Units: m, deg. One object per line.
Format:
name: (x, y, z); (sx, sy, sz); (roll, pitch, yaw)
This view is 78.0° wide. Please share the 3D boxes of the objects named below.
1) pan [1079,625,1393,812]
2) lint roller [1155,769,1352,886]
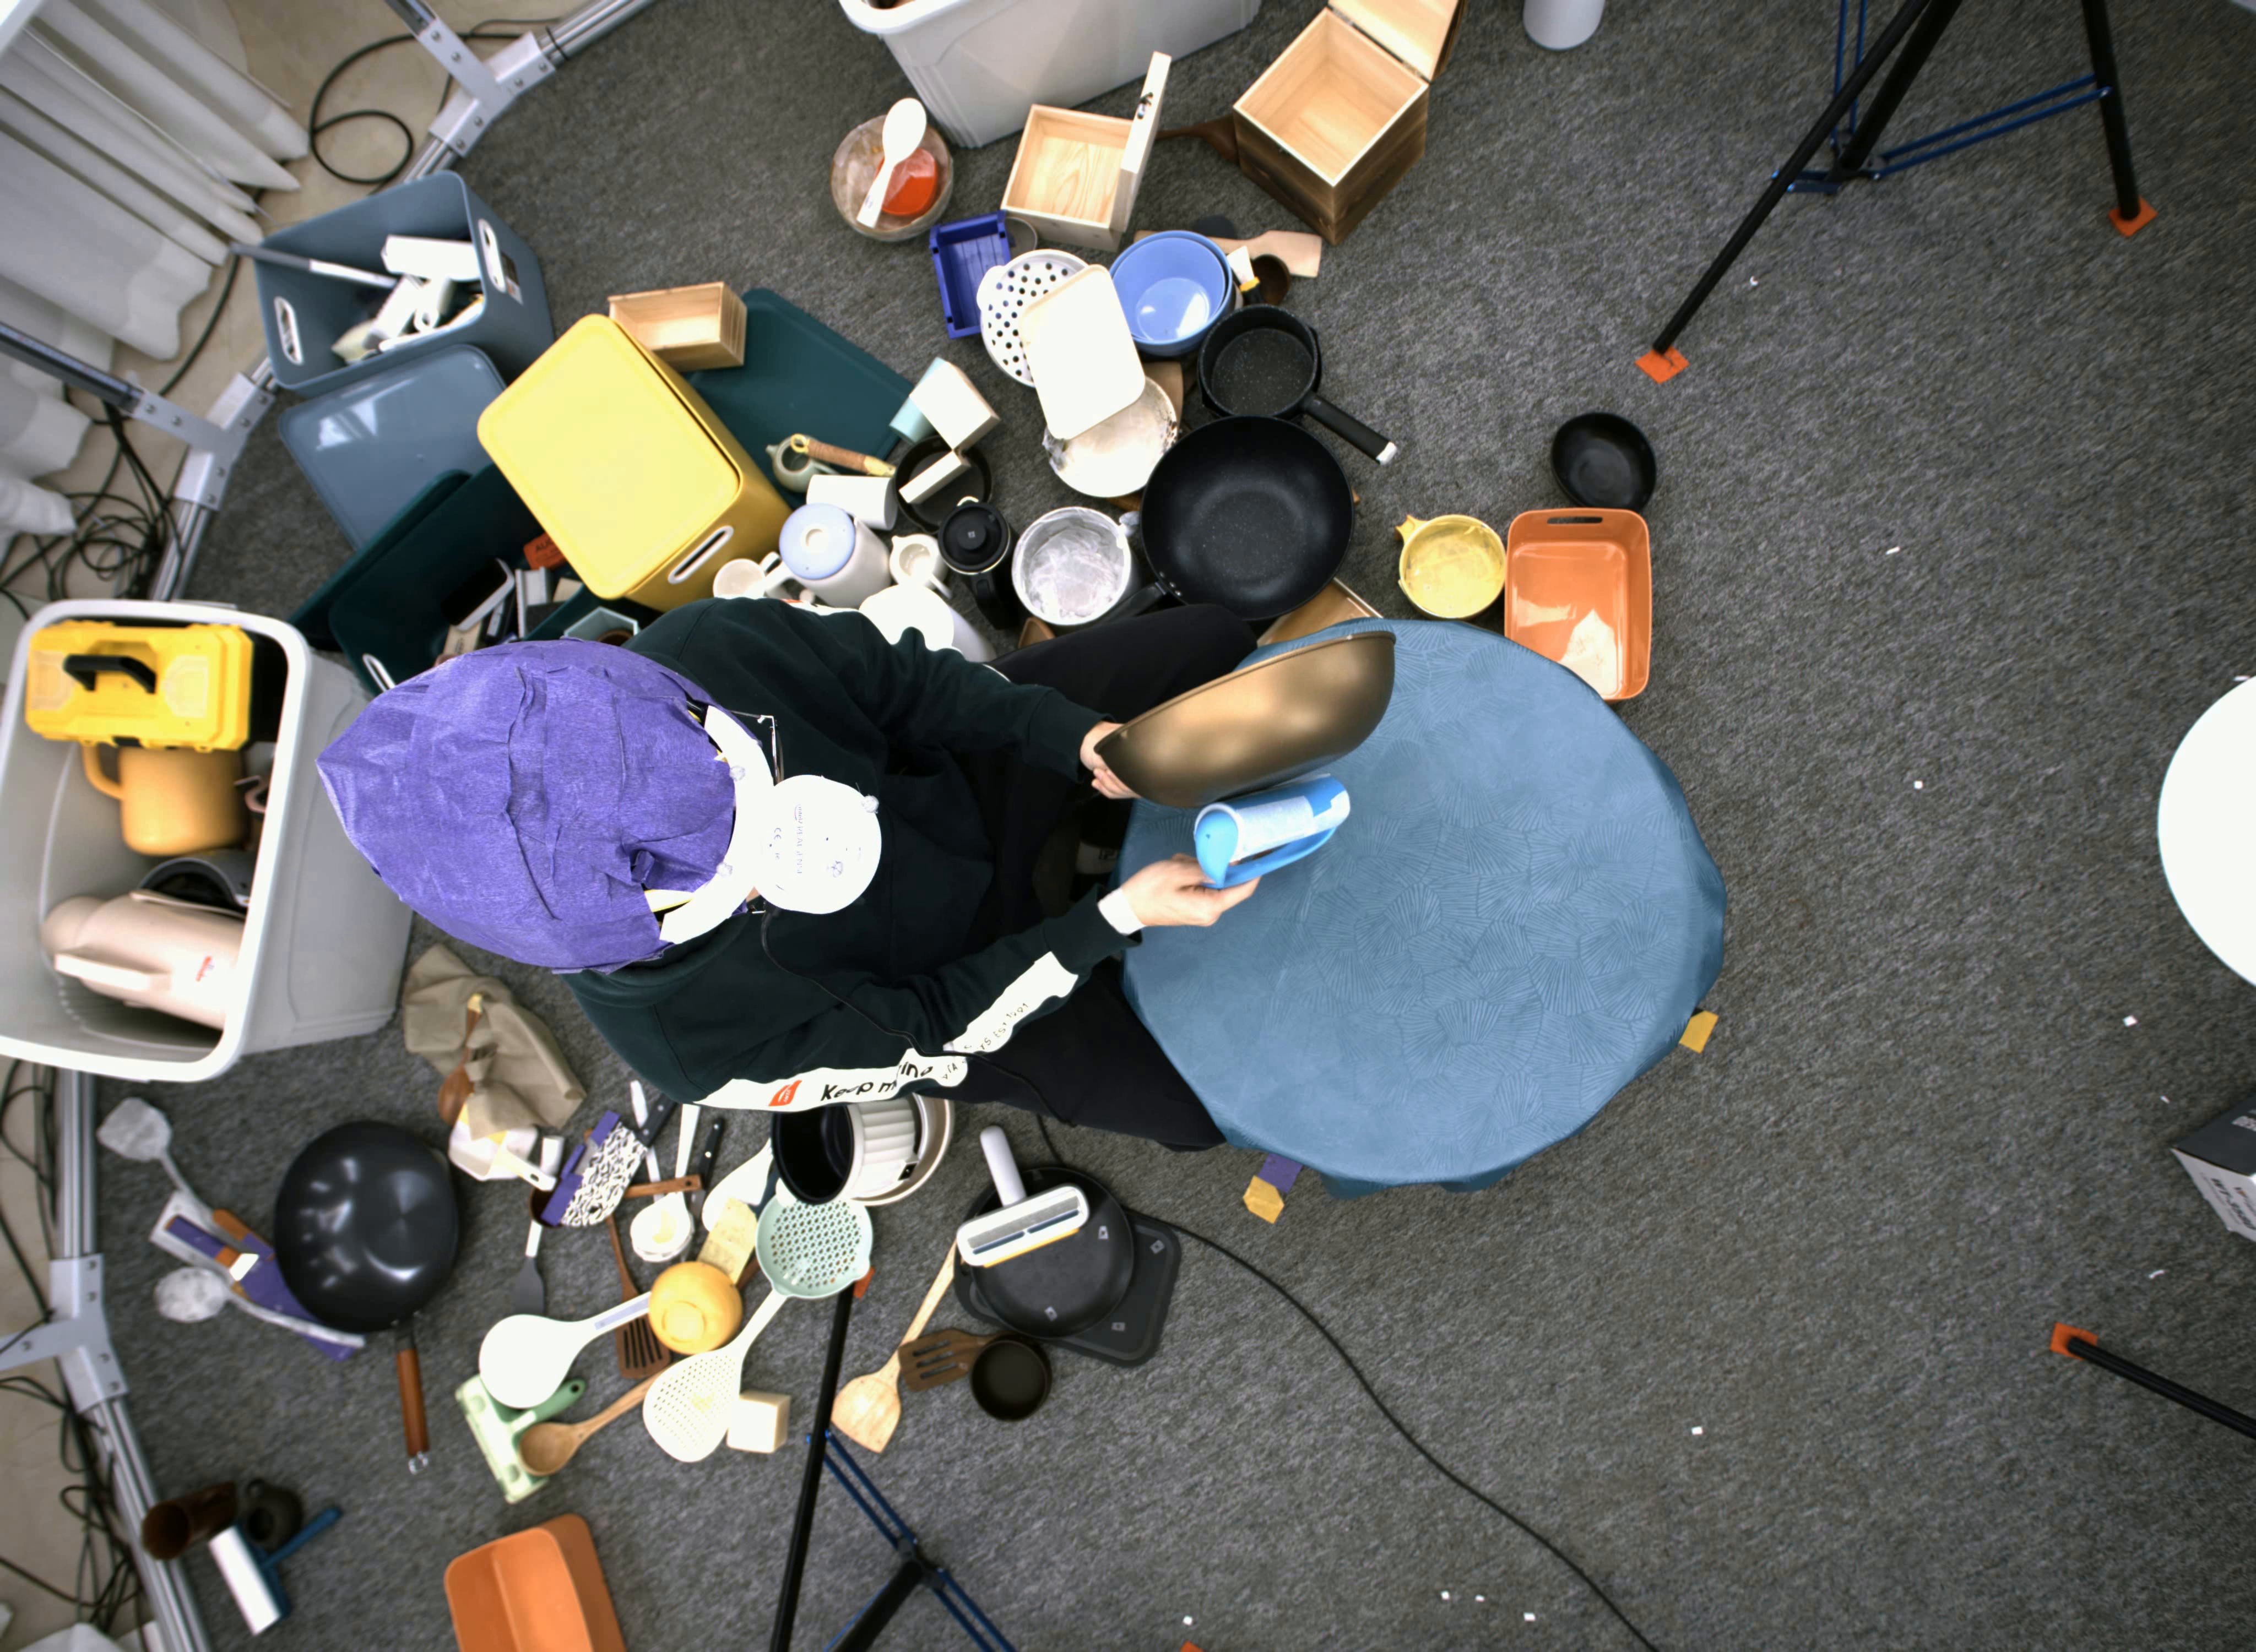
pan: (0.069, -0.055, 1.273); (0.284, 0.471, 0.086); (-19, 84, -31)
lint roller: (0.101, 0.020, 1.298); (0.184, 0.225, 0.067); (-41, 77, 40)
